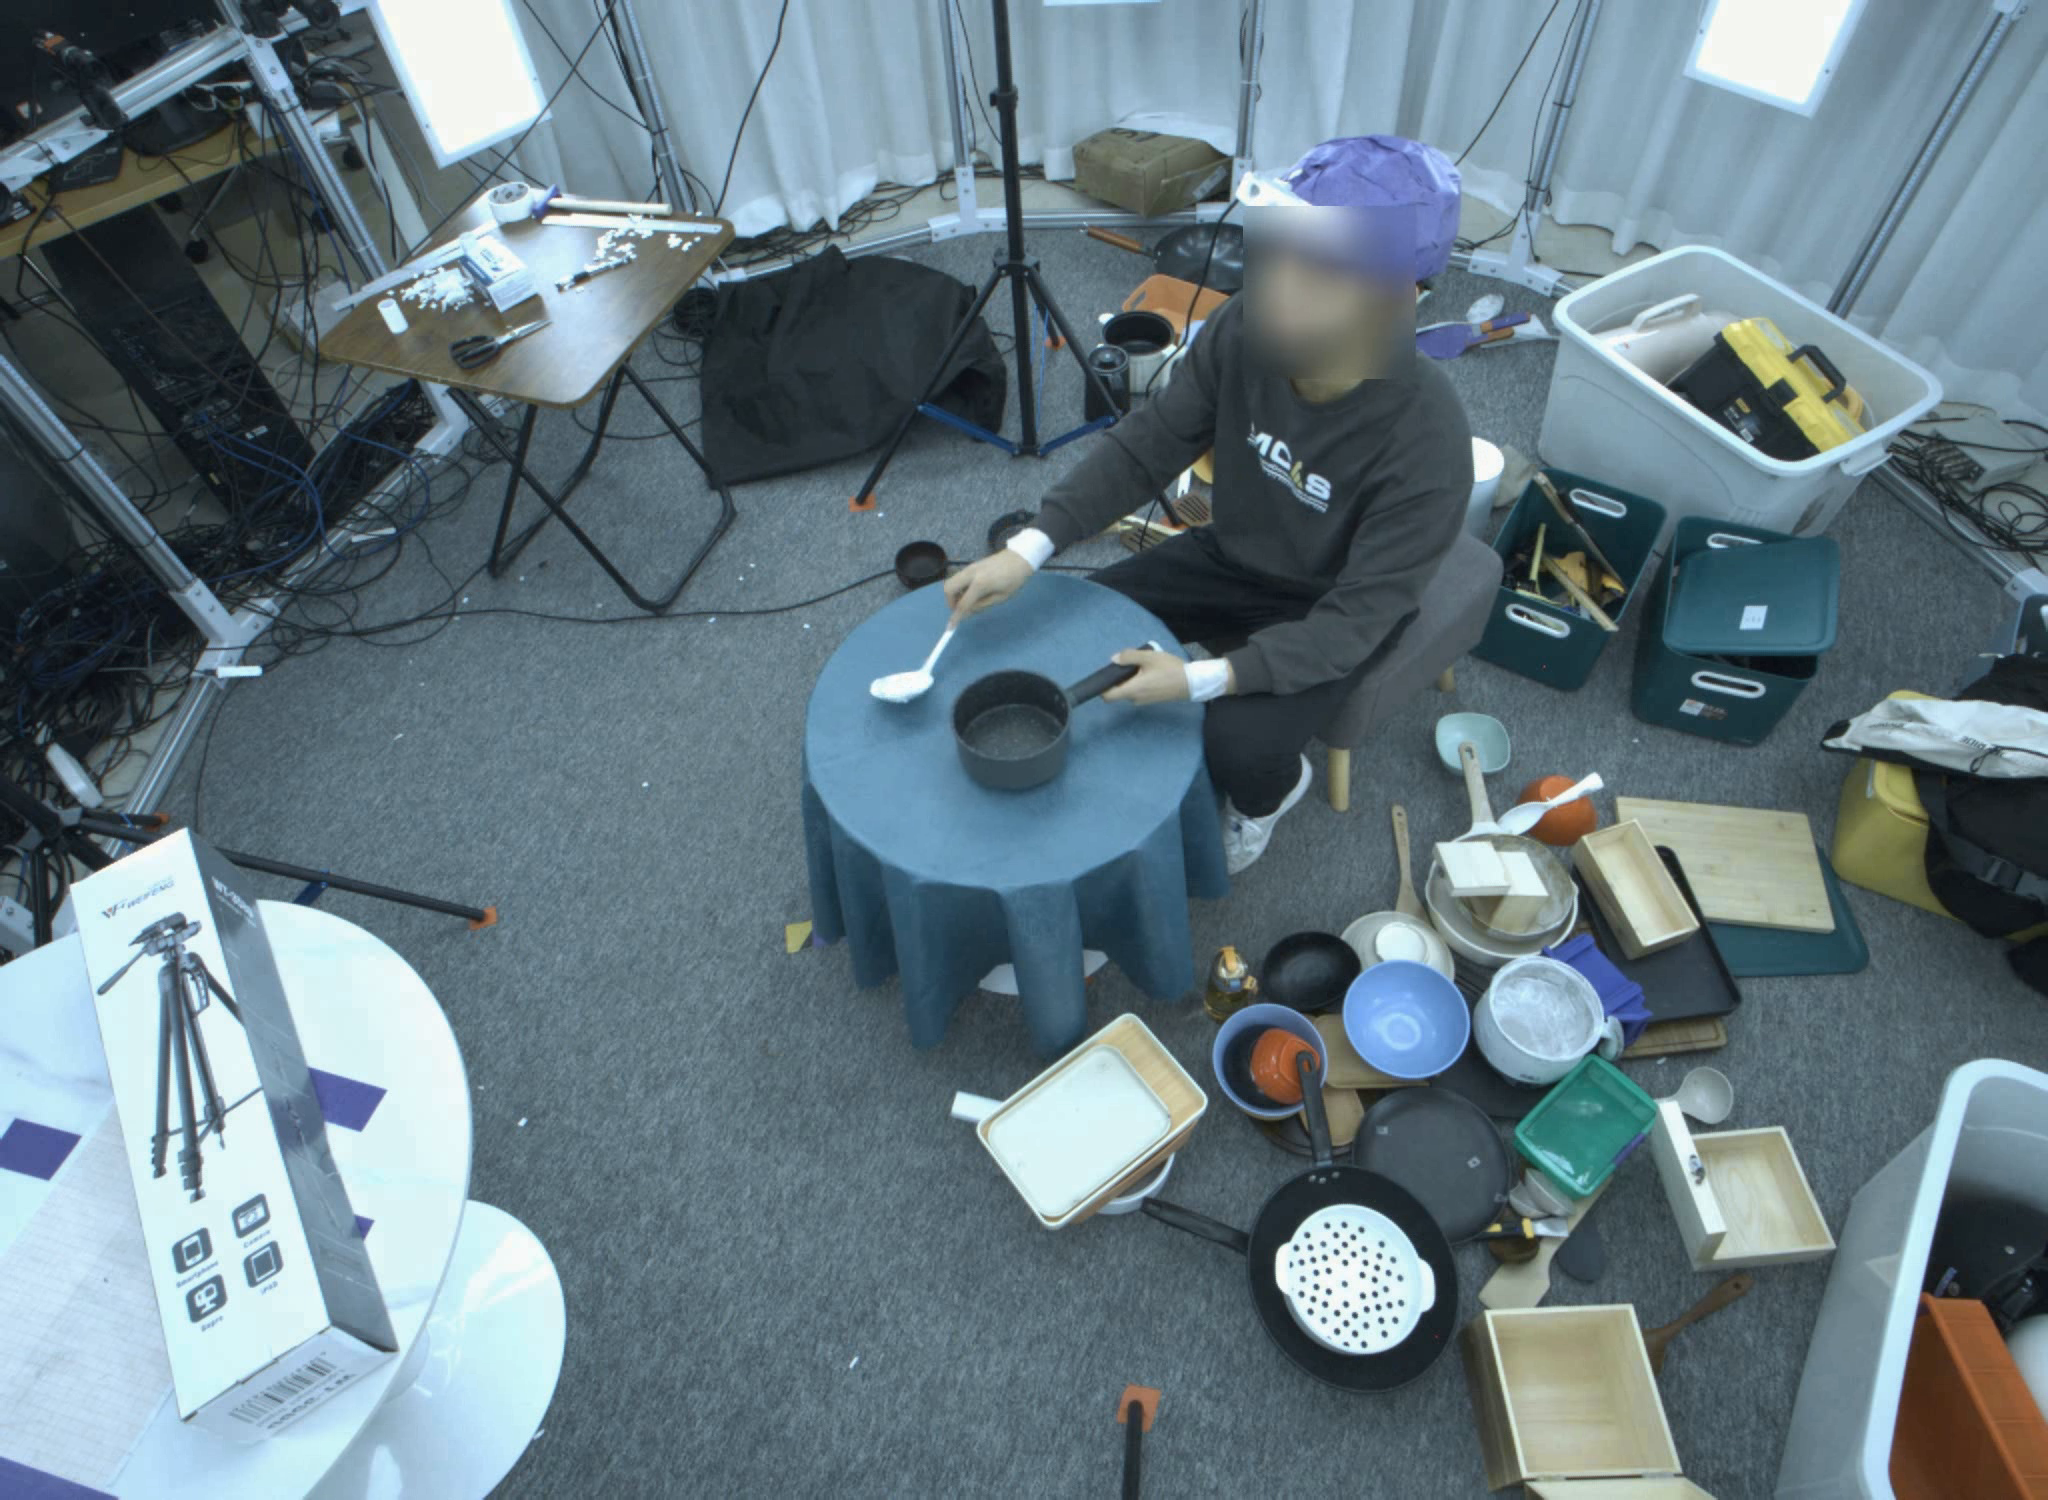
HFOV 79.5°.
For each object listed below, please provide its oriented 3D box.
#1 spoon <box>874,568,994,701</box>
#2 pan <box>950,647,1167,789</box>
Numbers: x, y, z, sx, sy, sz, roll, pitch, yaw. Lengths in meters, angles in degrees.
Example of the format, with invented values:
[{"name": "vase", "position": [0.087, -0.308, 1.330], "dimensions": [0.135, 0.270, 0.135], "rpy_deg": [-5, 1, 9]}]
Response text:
[{"name": "spoon", "position": [-0.126, -0.180, 1.850], "dimensions": [0.098, 0.060, 0.277], "rpy_deg": [20, 71, 35]}, {"name": "pan", "position": [0.054, -0.059, 1.769], "dimensions": [0.331, 0.087, 0.169], "rpy_deg": [-22, 55, -14]}]
